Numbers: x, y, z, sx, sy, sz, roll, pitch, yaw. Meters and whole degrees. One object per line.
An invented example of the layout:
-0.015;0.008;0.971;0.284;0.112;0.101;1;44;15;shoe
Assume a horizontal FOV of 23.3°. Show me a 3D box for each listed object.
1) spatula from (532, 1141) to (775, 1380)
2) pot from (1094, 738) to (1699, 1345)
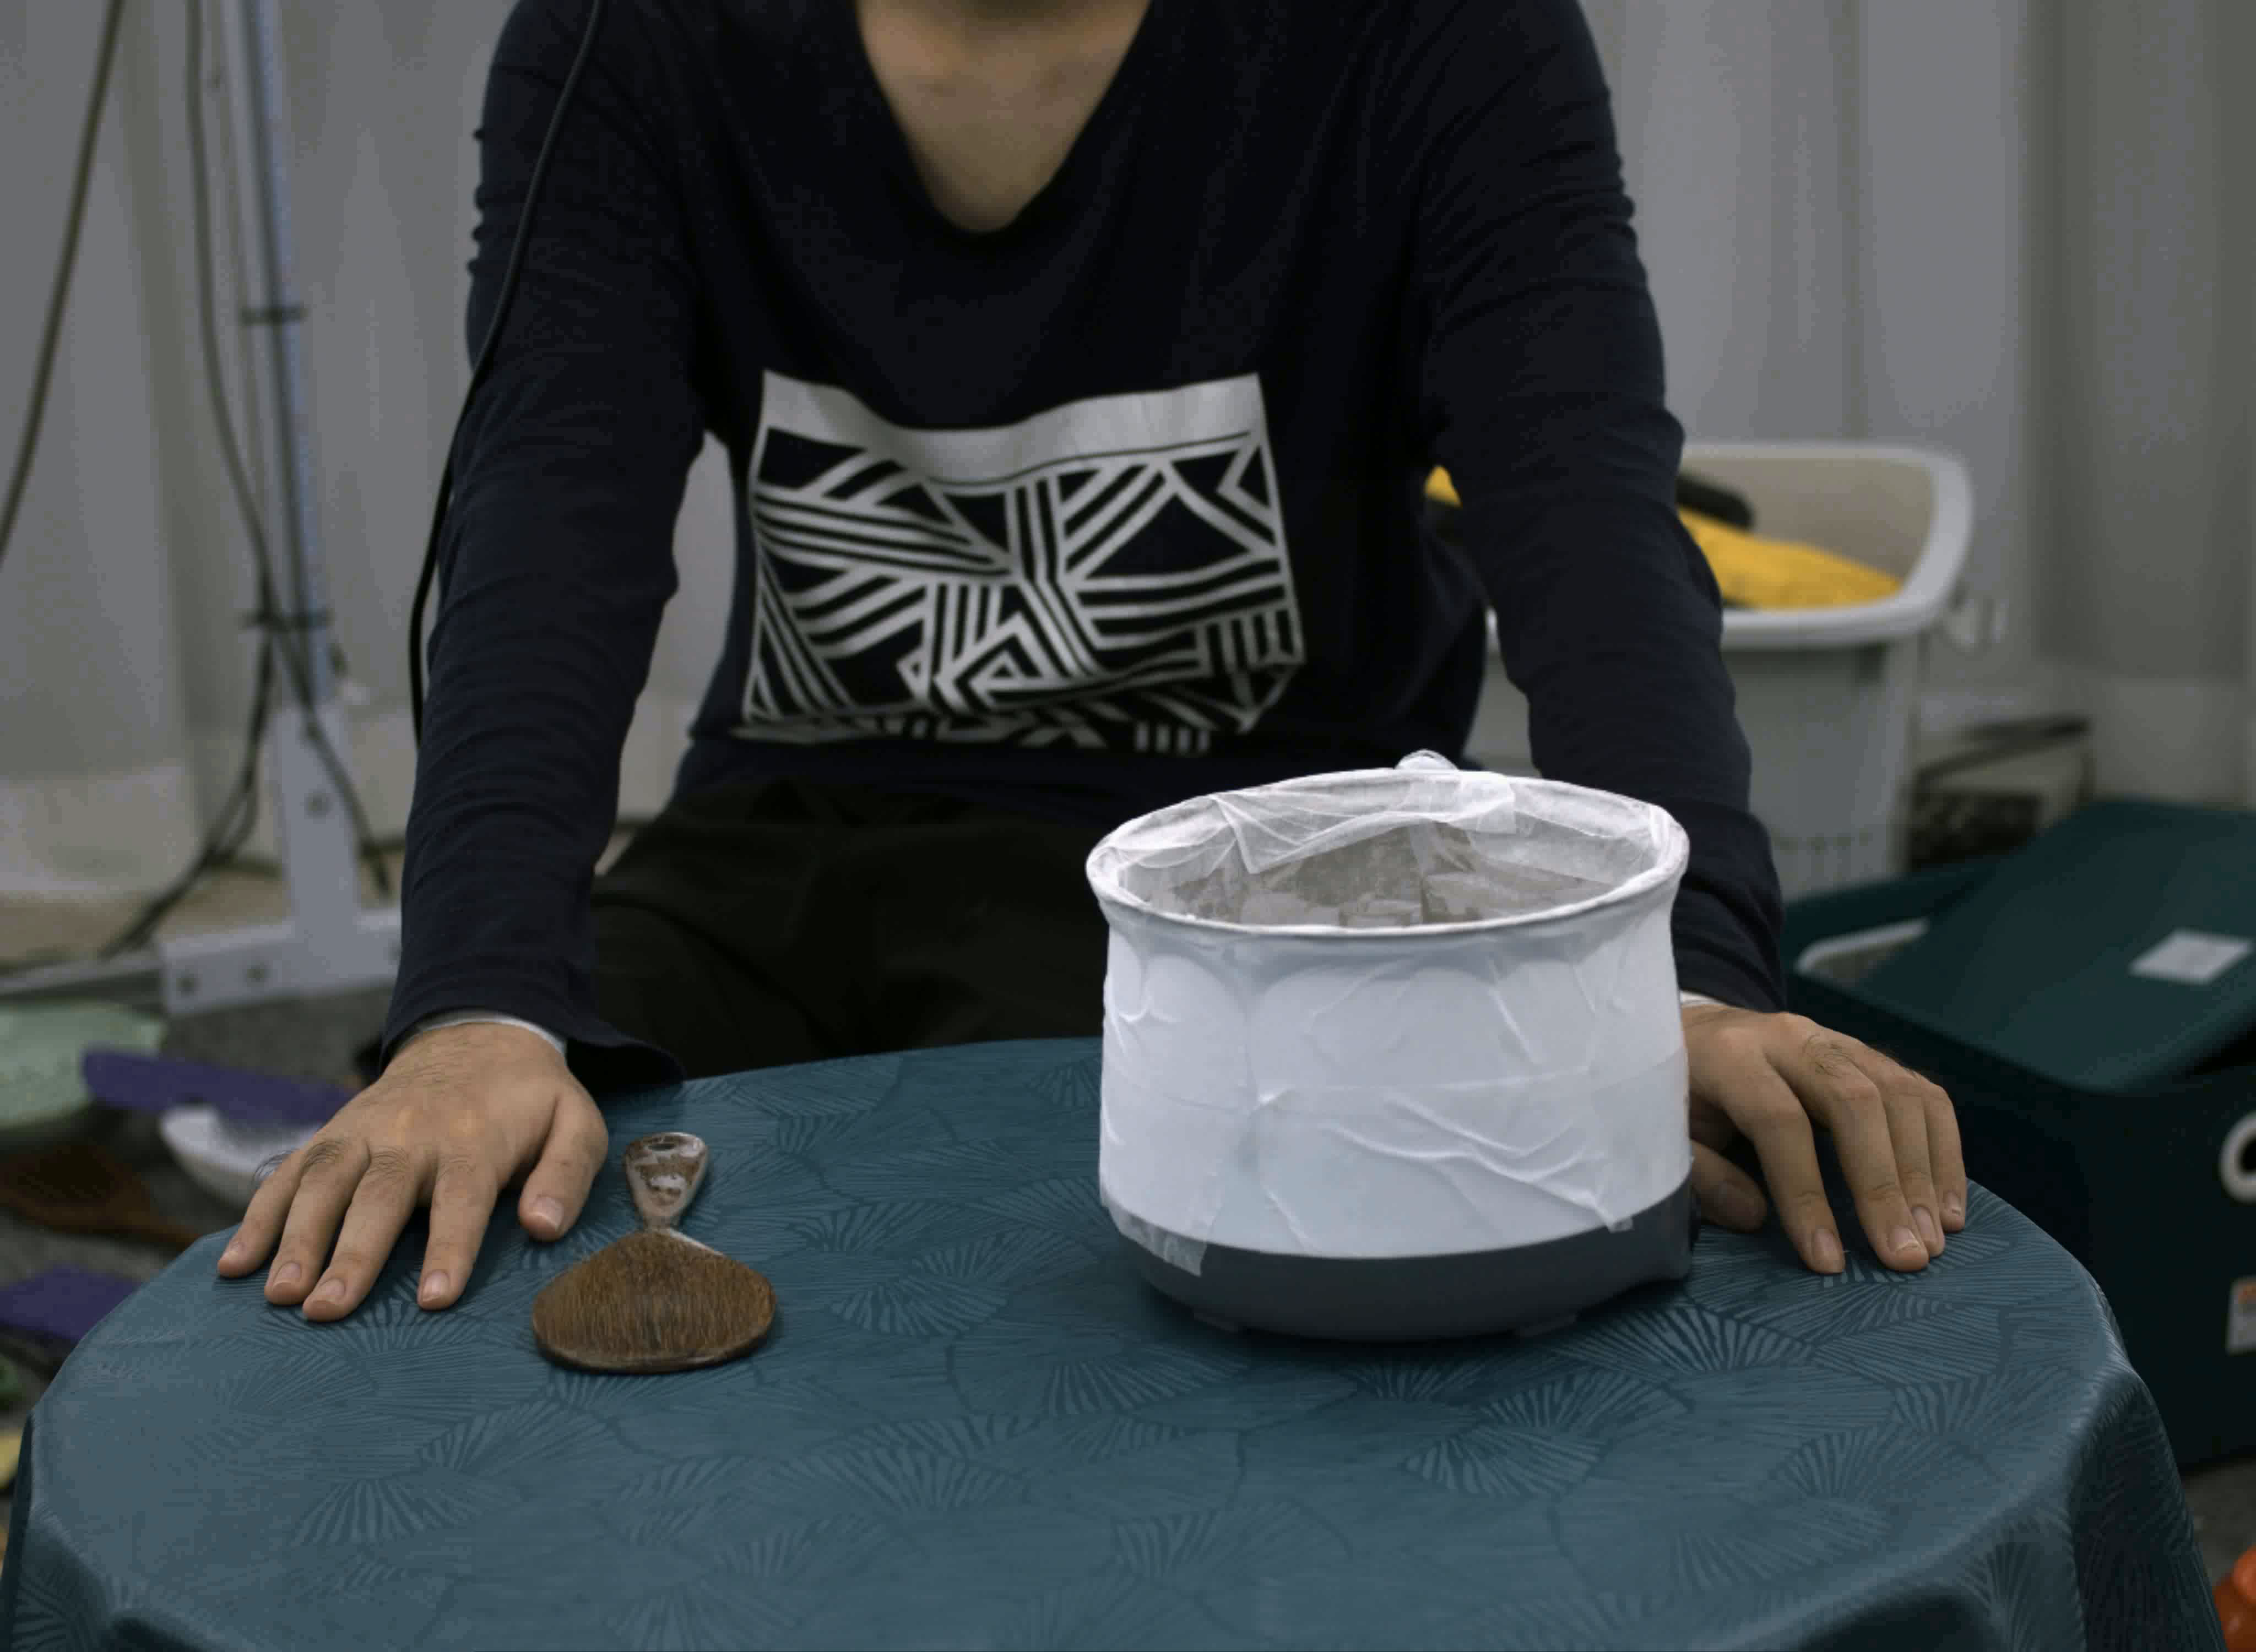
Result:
-0.143;0.130;1.679;0.071;0.009;0.217;-2;14;-2;spatula
0.082;0.059;1.641;0.178;0.136;0.235;2;16;7;pot
